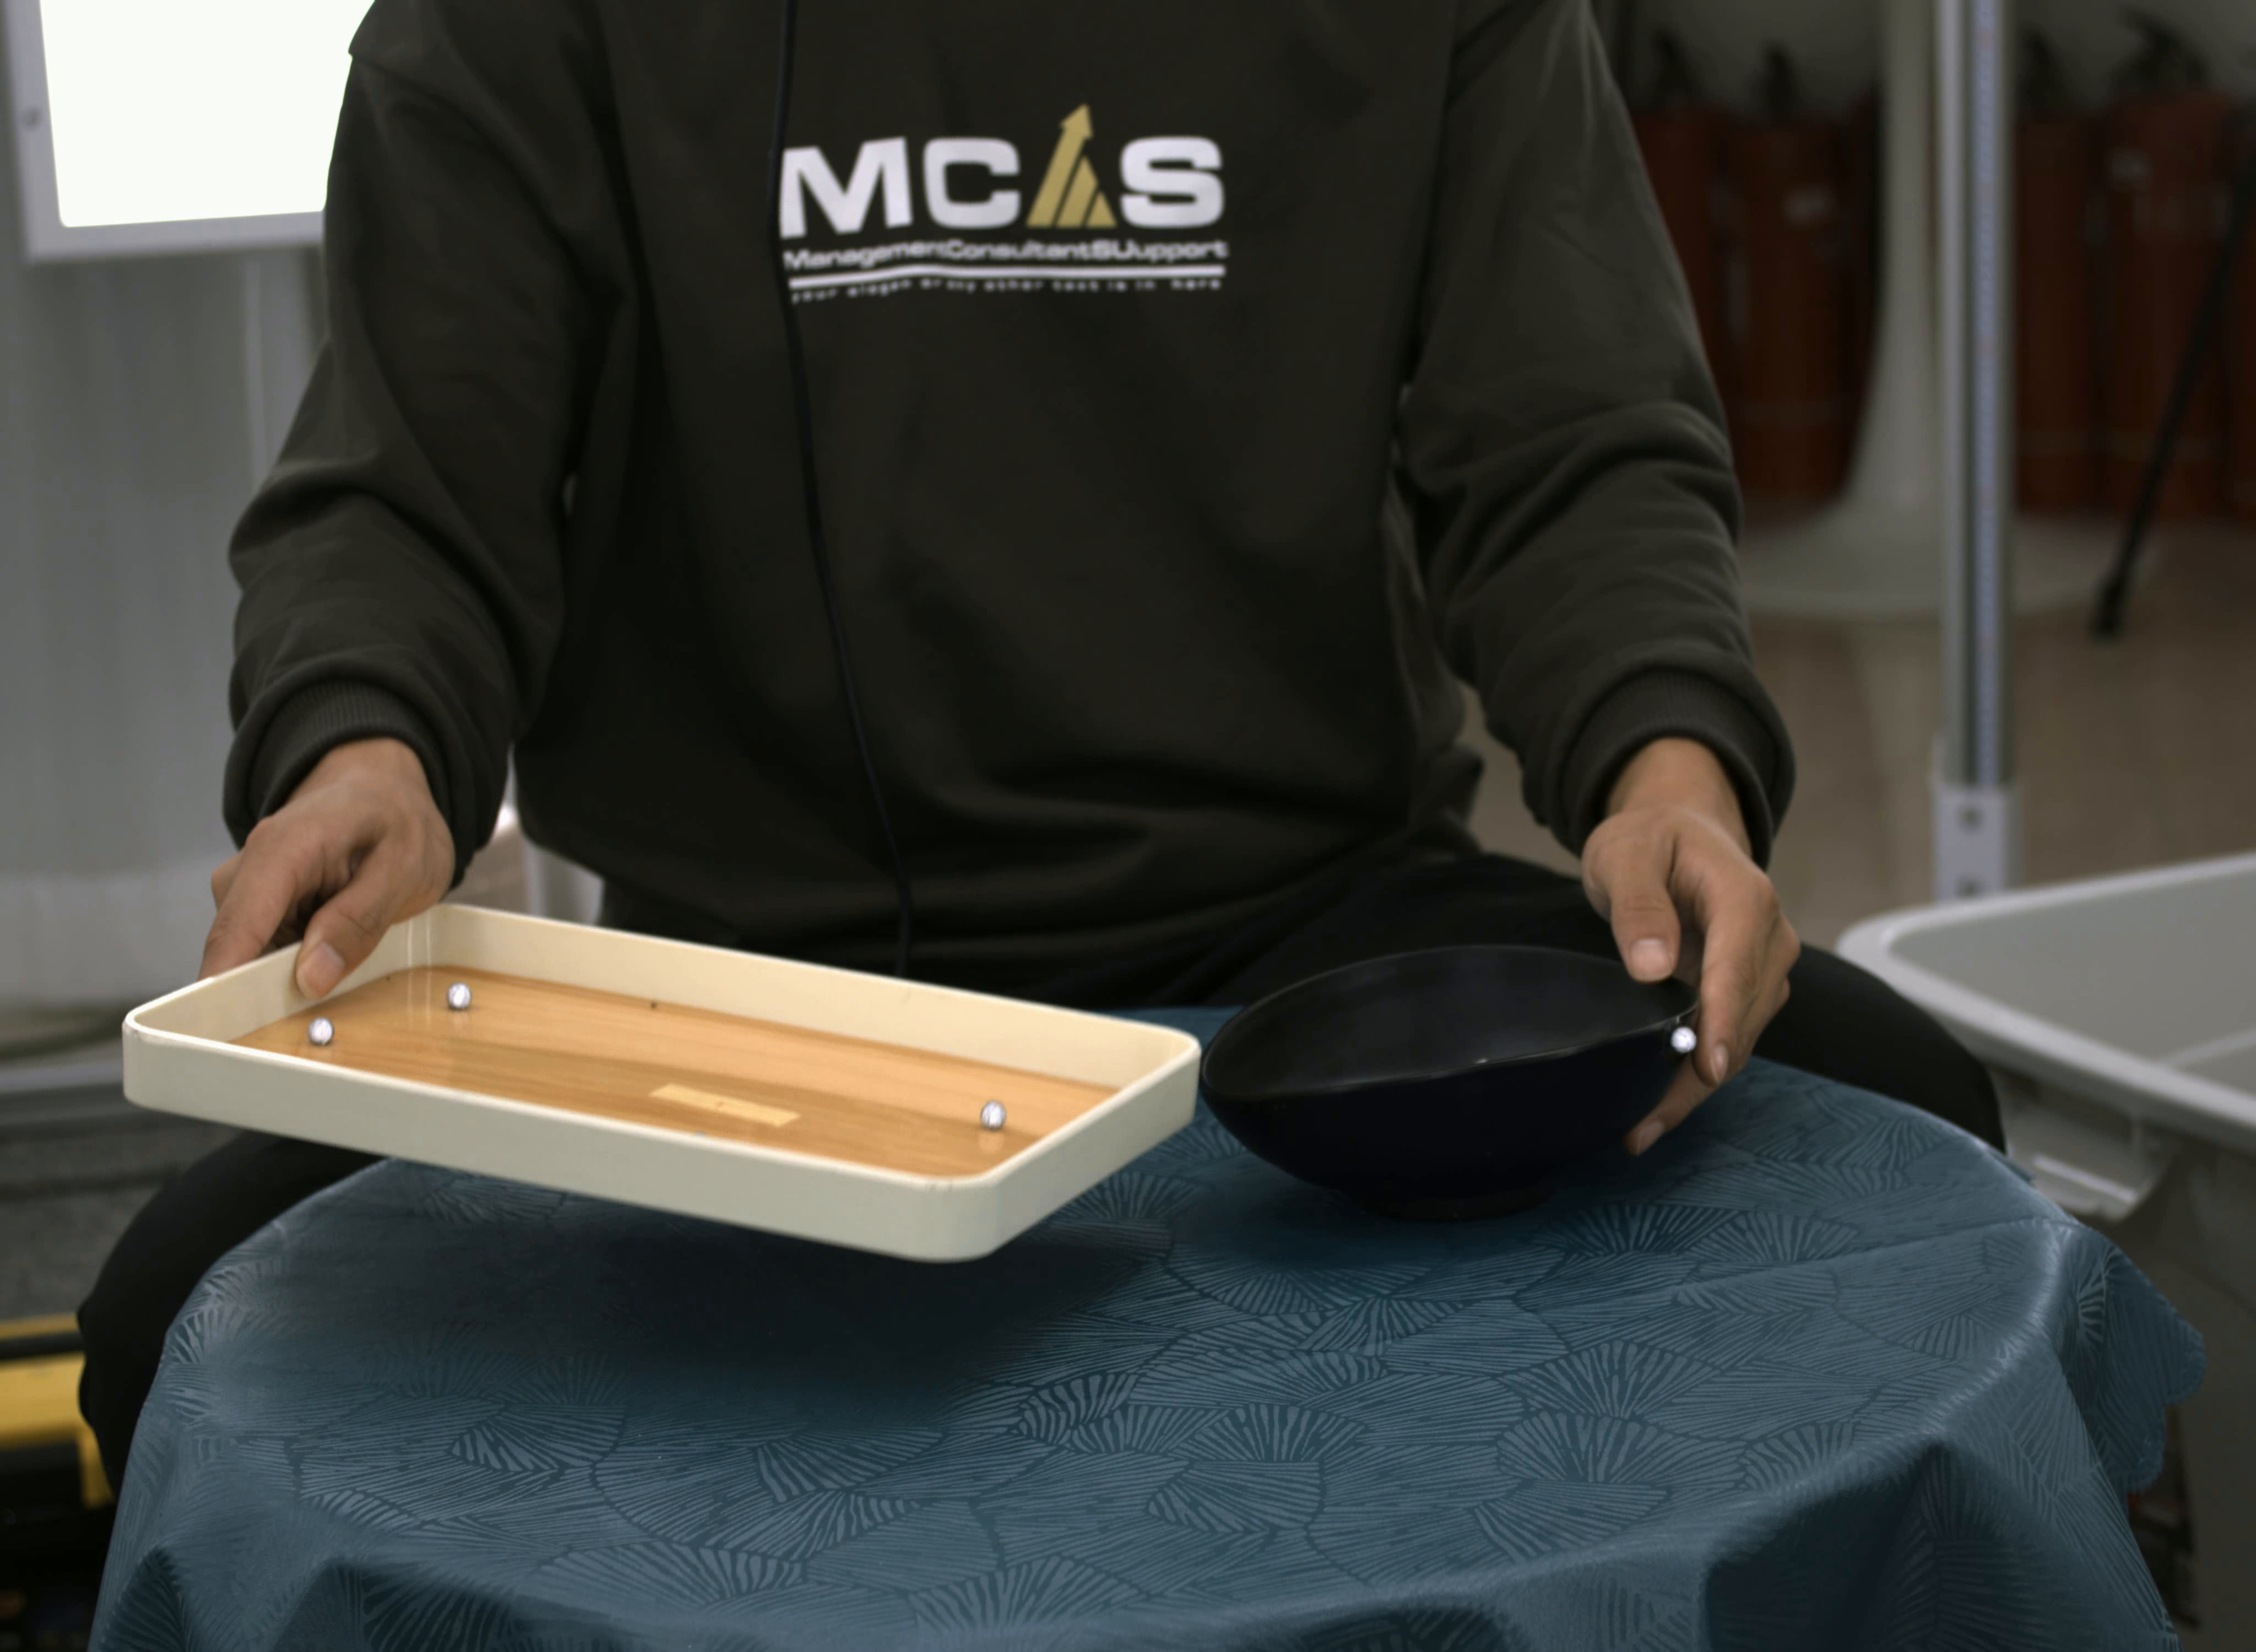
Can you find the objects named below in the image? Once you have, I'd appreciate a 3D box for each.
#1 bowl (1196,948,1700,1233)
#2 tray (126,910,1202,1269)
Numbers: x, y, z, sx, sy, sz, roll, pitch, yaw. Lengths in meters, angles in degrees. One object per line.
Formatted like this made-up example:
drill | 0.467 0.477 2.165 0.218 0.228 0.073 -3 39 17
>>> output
bowl | 0.107 0.091 1.744 0.167 0.067 0.138 -11 13 -17
tray | -0.143 0.080 1.695 0.300 0.028 0.189 9 15 23
